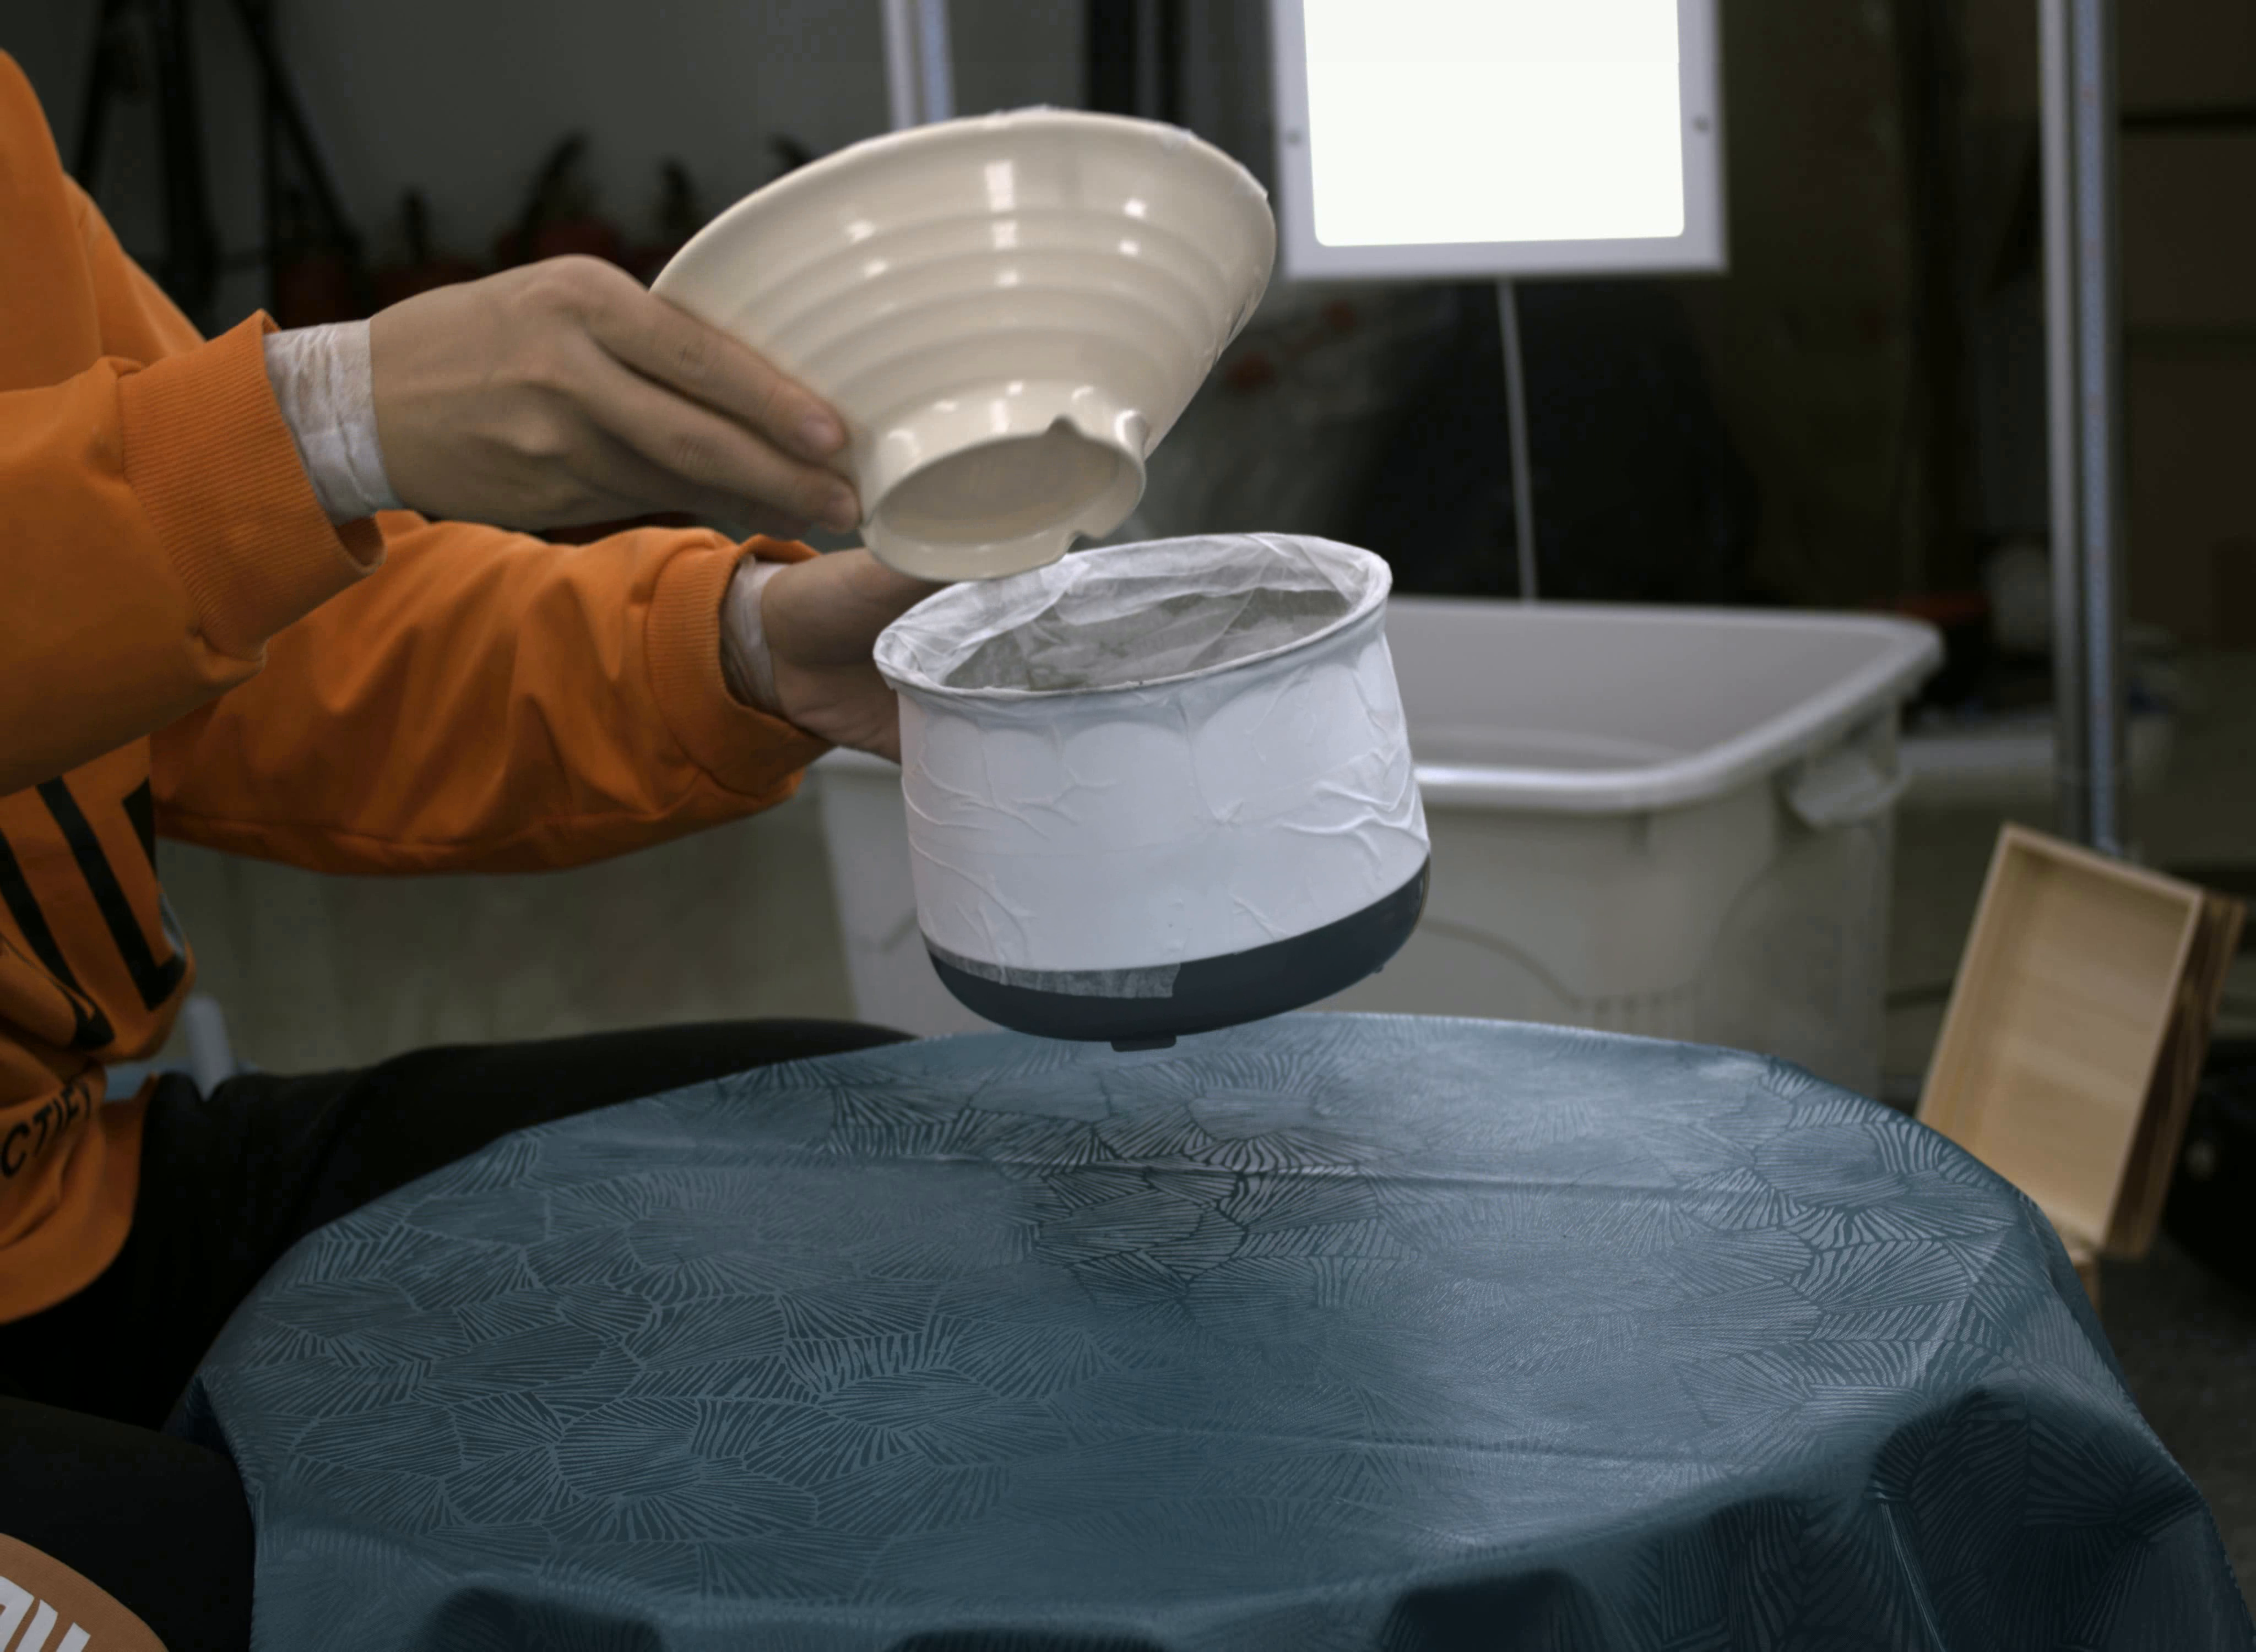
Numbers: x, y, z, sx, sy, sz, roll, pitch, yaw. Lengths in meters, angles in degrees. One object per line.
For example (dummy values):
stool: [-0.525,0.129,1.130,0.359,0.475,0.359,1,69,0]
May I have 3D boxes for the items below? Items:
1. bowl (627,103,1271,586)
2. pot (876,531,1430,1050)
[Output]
bowl: [-0.045,-0.128,1.671,0.202,0.078,0.205,-12,-26,-7]
pot: [-0.004,-0.018,1.887,0.175,0.137,0.238,-19,20,-29]
